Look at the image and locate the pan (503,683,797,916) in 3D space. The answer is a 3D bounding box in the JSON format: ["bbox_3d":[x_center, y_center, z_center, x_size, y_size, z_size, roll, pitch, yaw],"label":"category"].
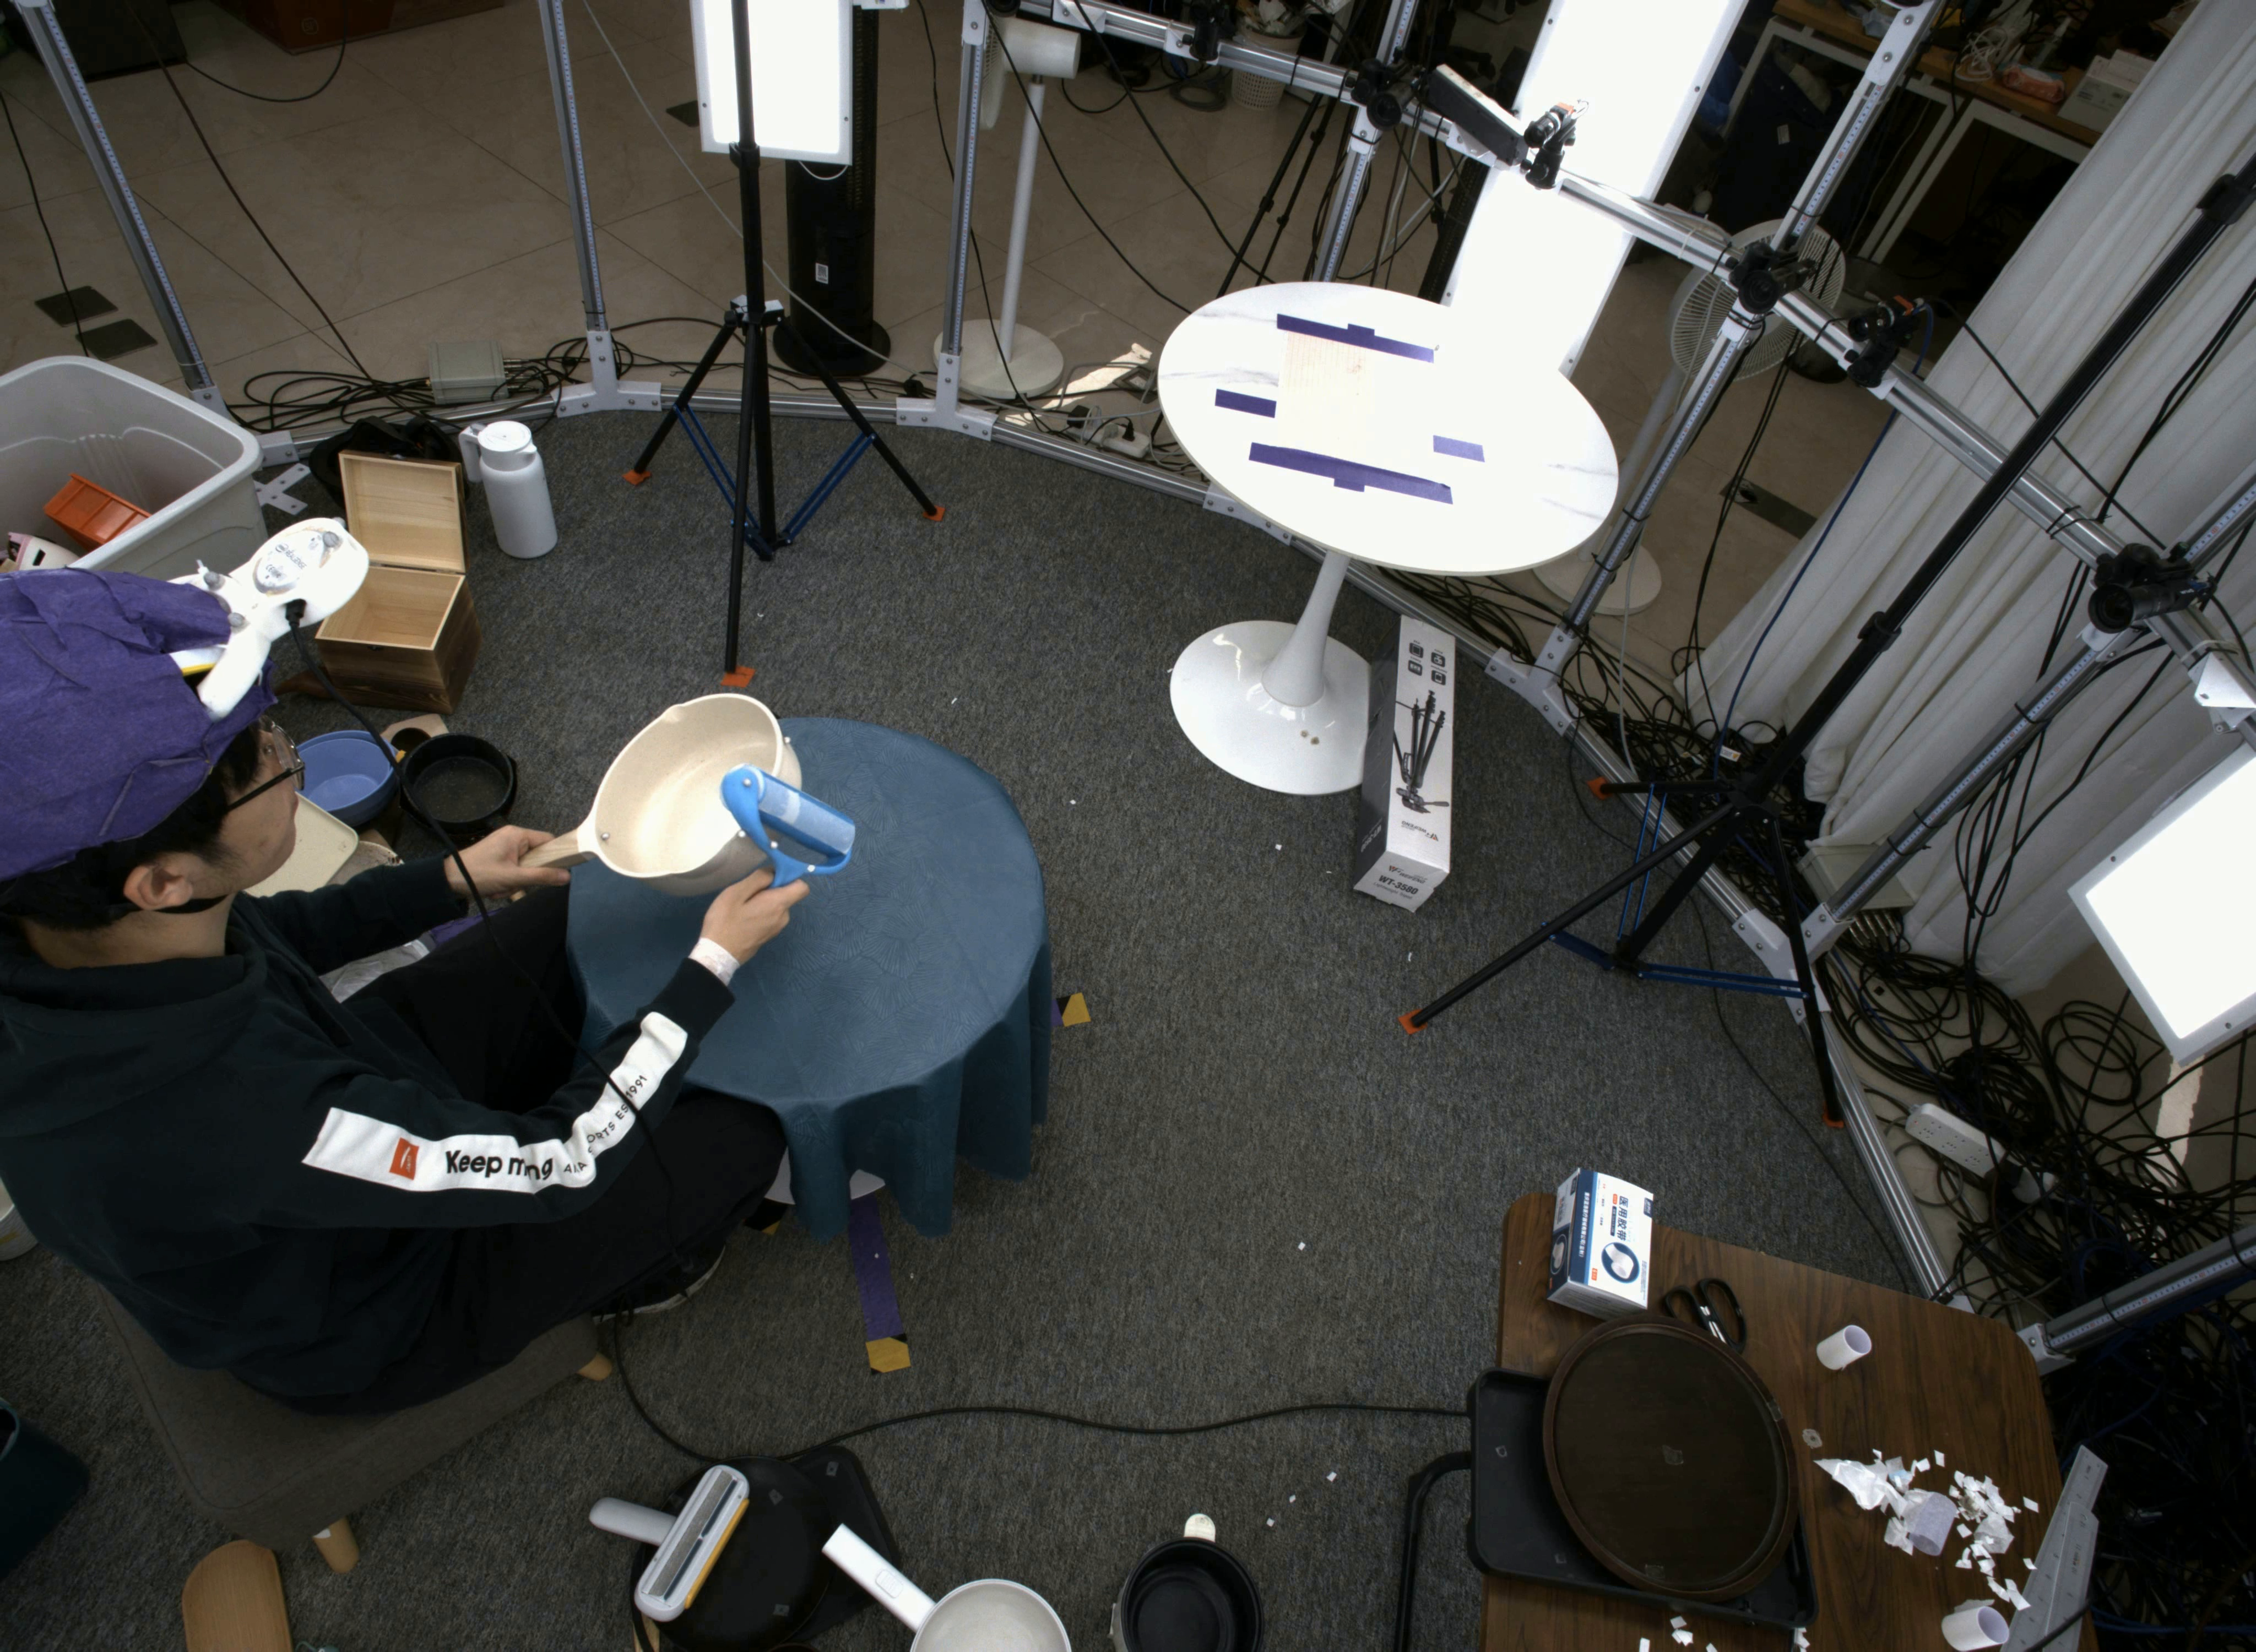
[{"bbox_3d":[-0.574,0.004,1.481,0.432,0.106,0.256,-29,54,2],"label":"pan"}]

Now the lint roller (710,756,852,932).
[{"bbox_3d":[-0.389,0.036,1.394,0.066,0.234,0.181,19,84,20],"label":"lint roller"}]
